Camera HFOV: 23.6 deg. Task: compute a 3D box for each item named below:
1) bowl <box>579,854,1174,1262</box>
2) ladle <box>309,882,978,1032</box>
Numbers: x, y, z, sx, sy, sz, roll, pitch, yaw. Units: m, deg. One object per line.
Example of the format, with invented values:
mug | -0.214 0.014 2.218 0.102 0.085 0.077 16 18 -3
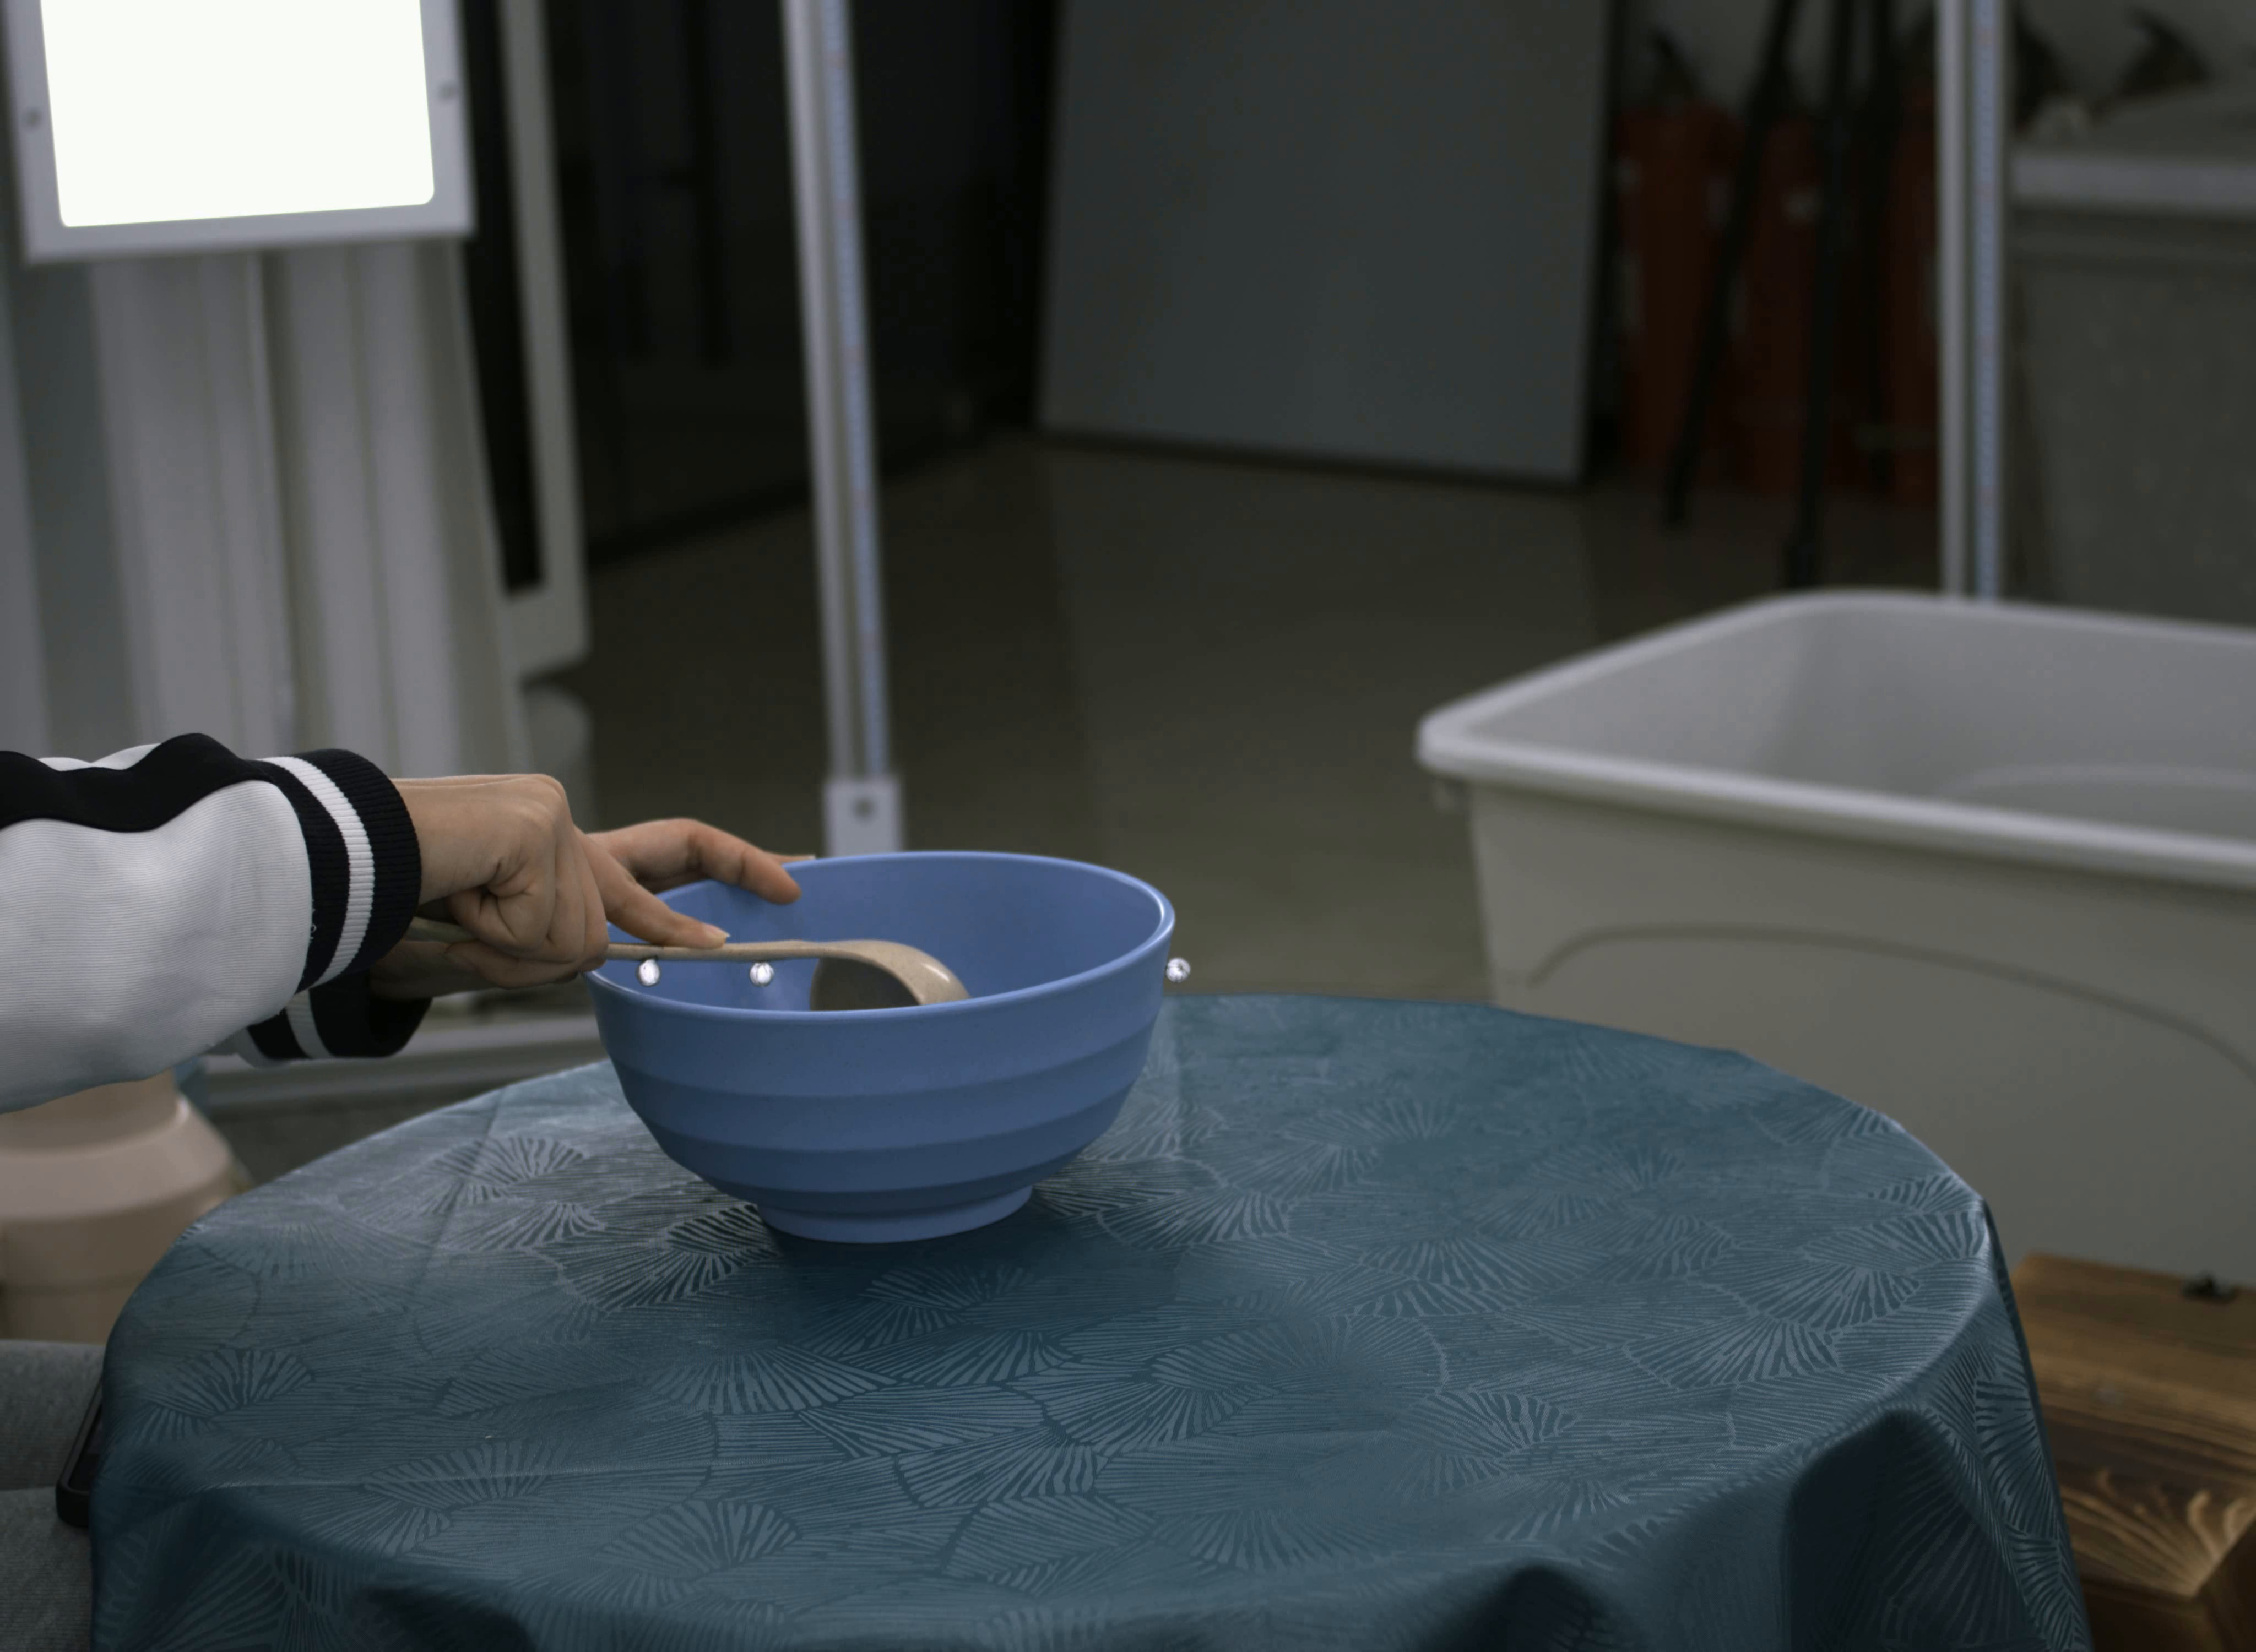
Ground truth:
bowl | -0.079 0.082 1.768 0.194 0.096 0.197 -4 15 0
ladle | -0.154 0.065 1.719 0.248 0.074 0.073 7 3 -37
